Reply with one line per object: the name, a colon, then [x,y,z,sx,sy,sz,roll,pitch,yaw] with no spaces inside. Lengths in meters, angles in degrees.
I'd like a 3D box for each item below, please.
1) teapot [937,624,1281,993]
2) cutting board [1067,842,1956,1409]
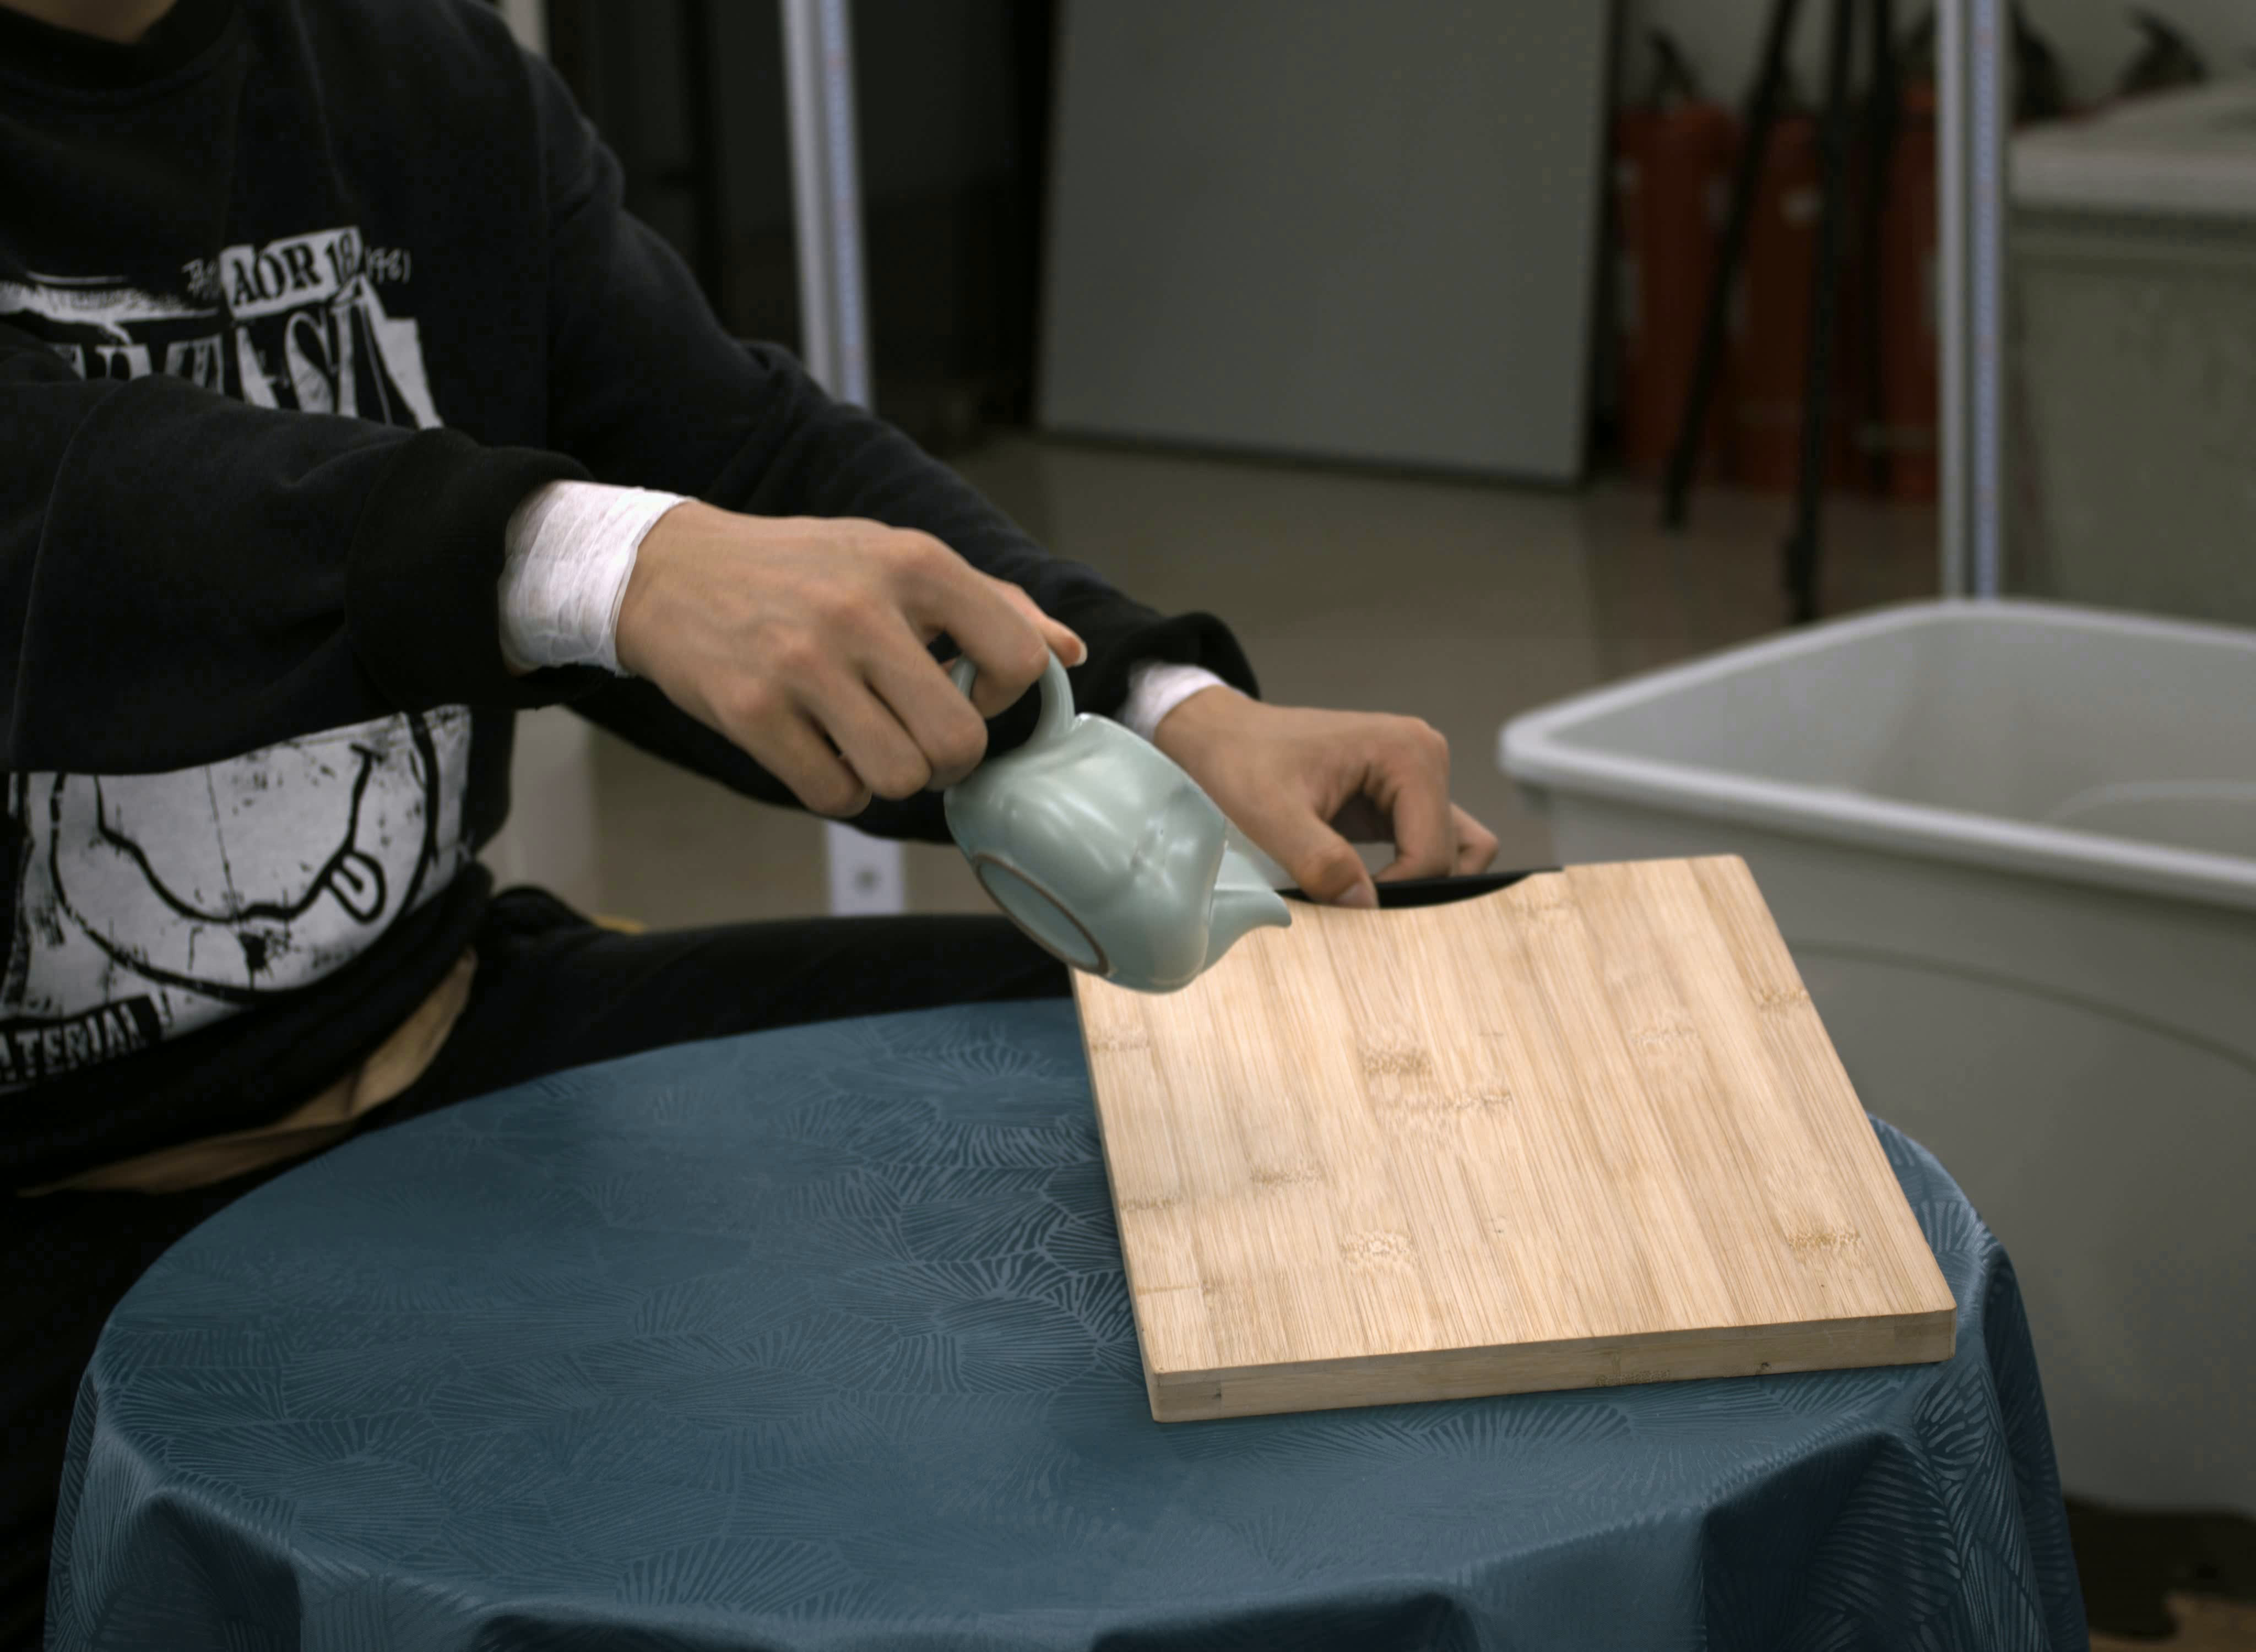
teapot: [-0.013,0.001,1.623,0.061,0.136,0.097,-48,20,-14]
cutting board: [0.110,0.090,1.722,0.247,0.024,0.350,-5,23,-3]
